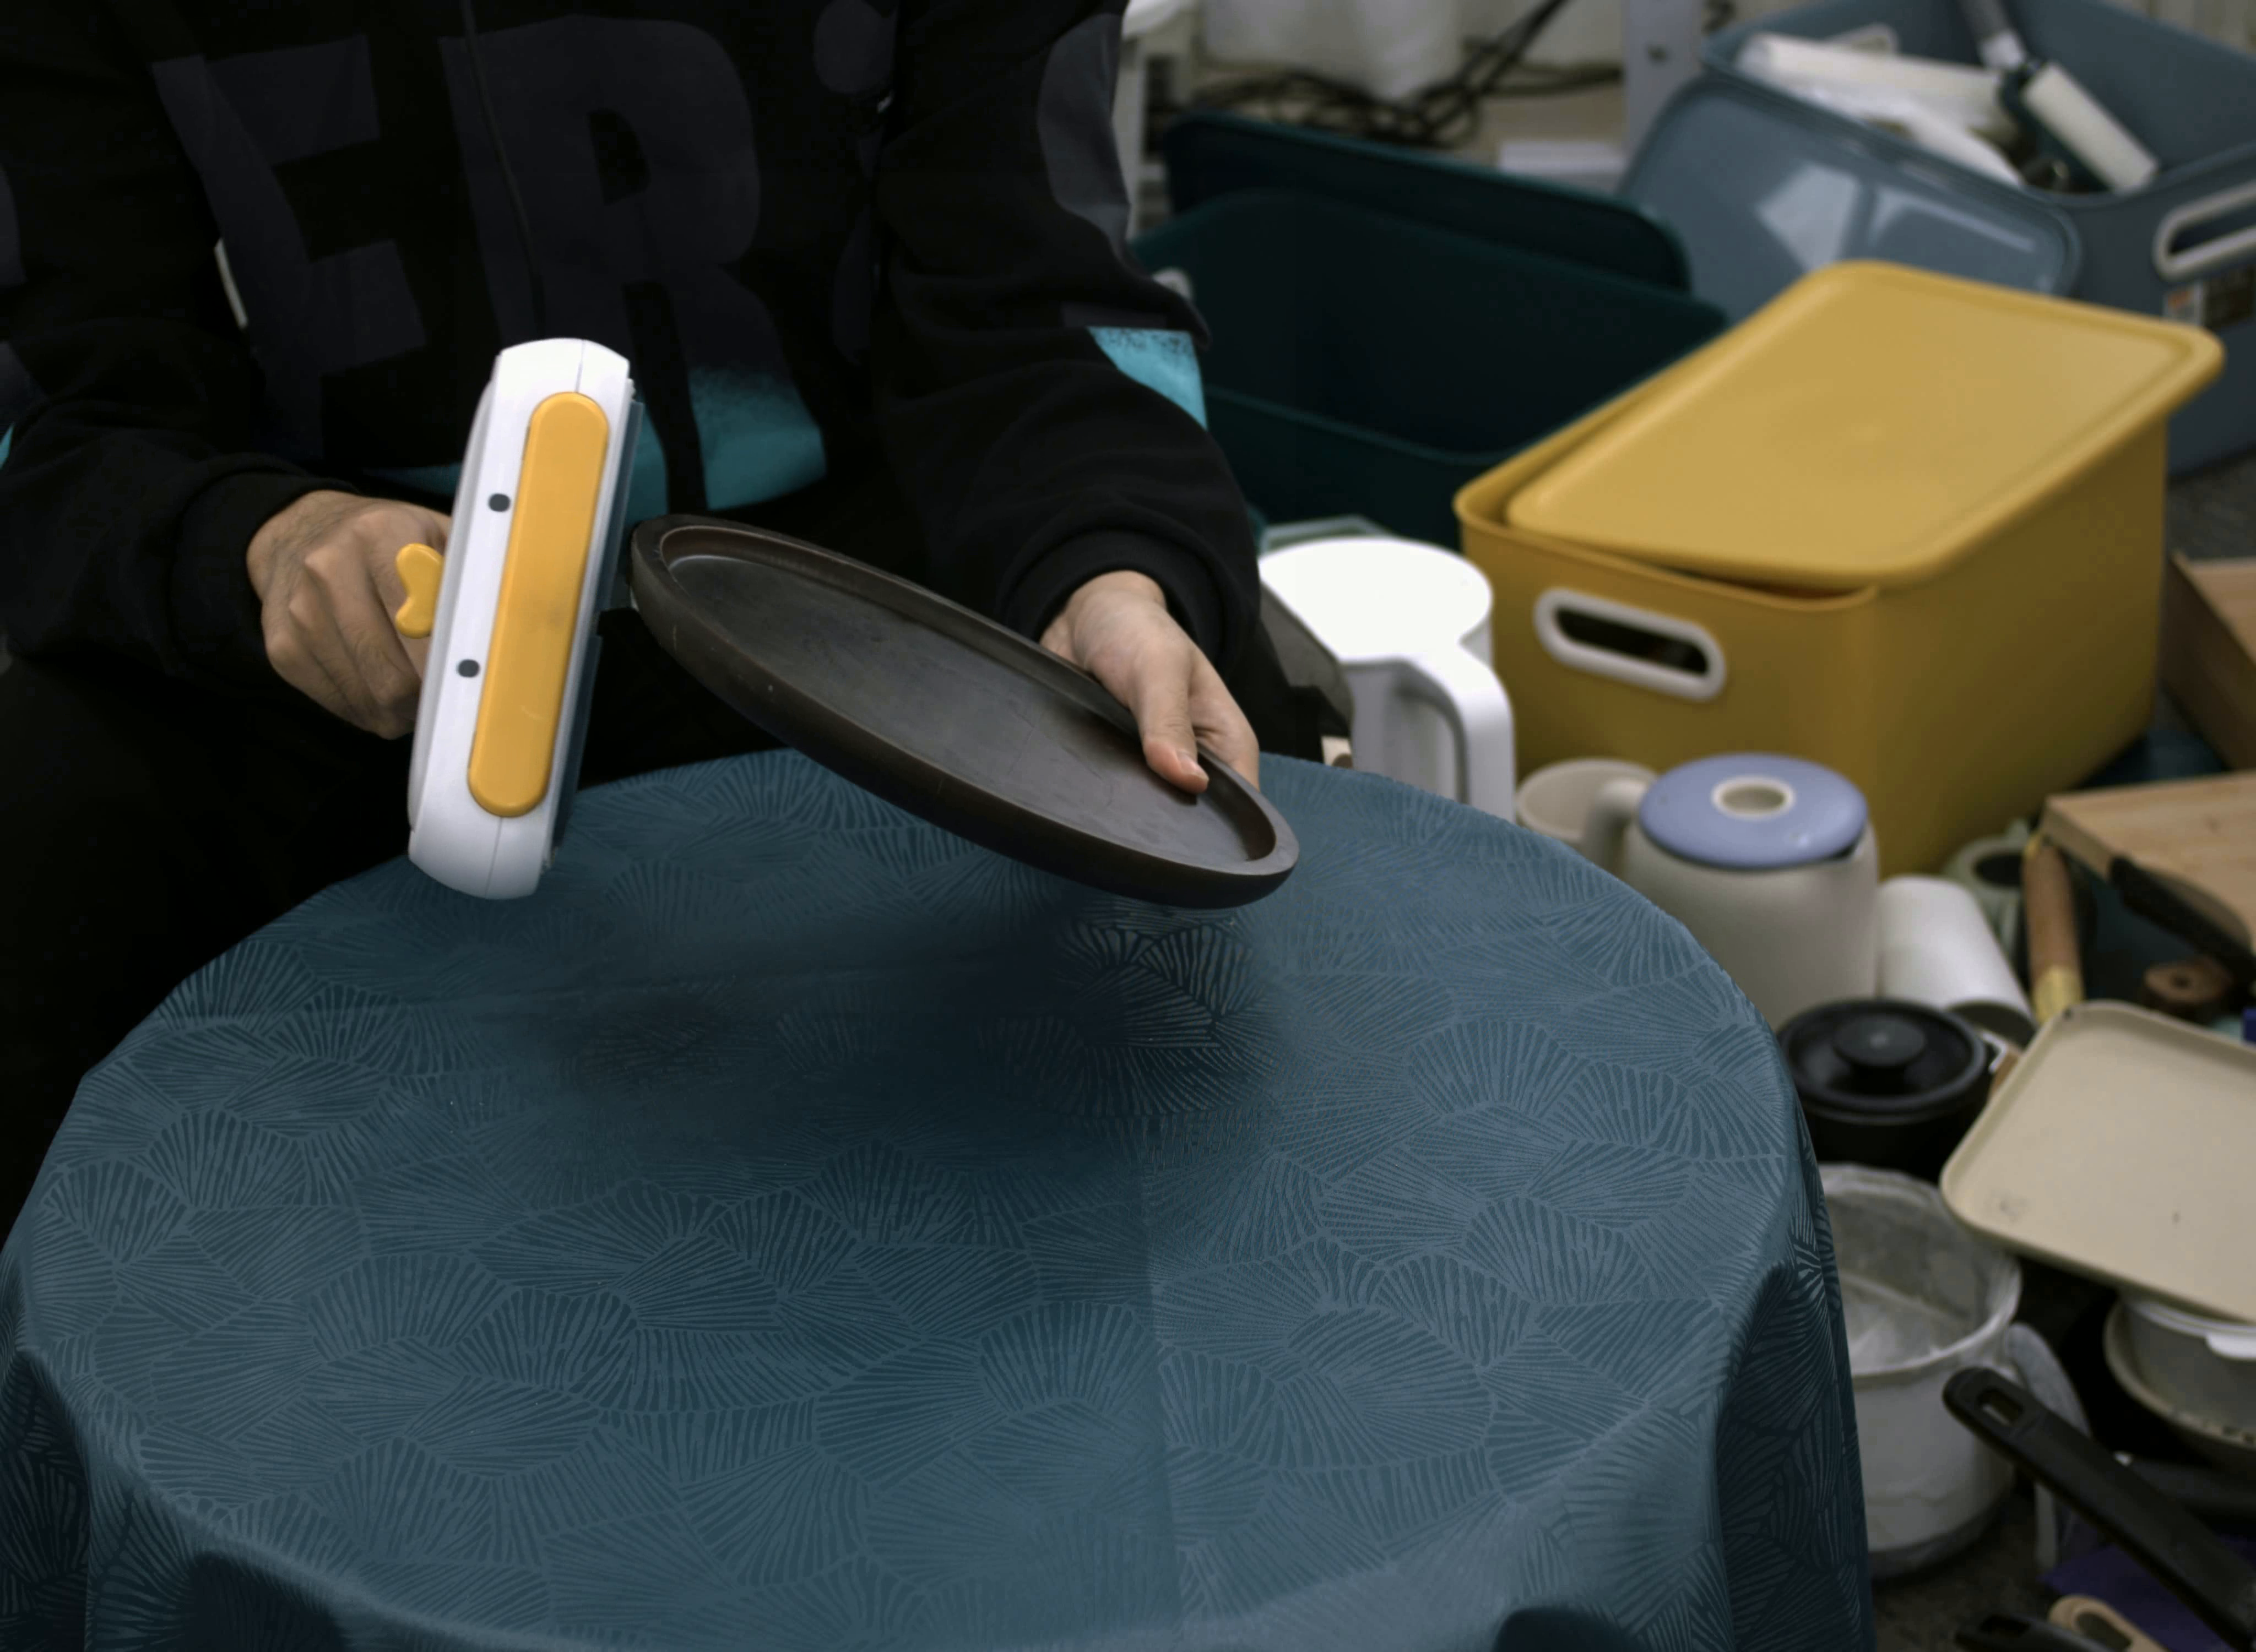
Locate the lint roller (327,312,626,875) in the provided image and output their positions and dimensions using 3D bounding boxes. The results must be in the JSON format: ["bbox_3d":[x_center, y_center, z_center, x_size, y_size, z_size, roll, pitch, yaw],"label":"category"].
[{"bbox_3d":[-0.232,-0.070,1.958,0.074,0.195,0.190,8,-13,-18],"label":"lint roller"}]

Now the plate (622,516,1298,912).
[{"bbox_3d":[-0.058,-0.038,1.909,0.254,0.029,0.256,26,11,-5],"label":"plate"}]
